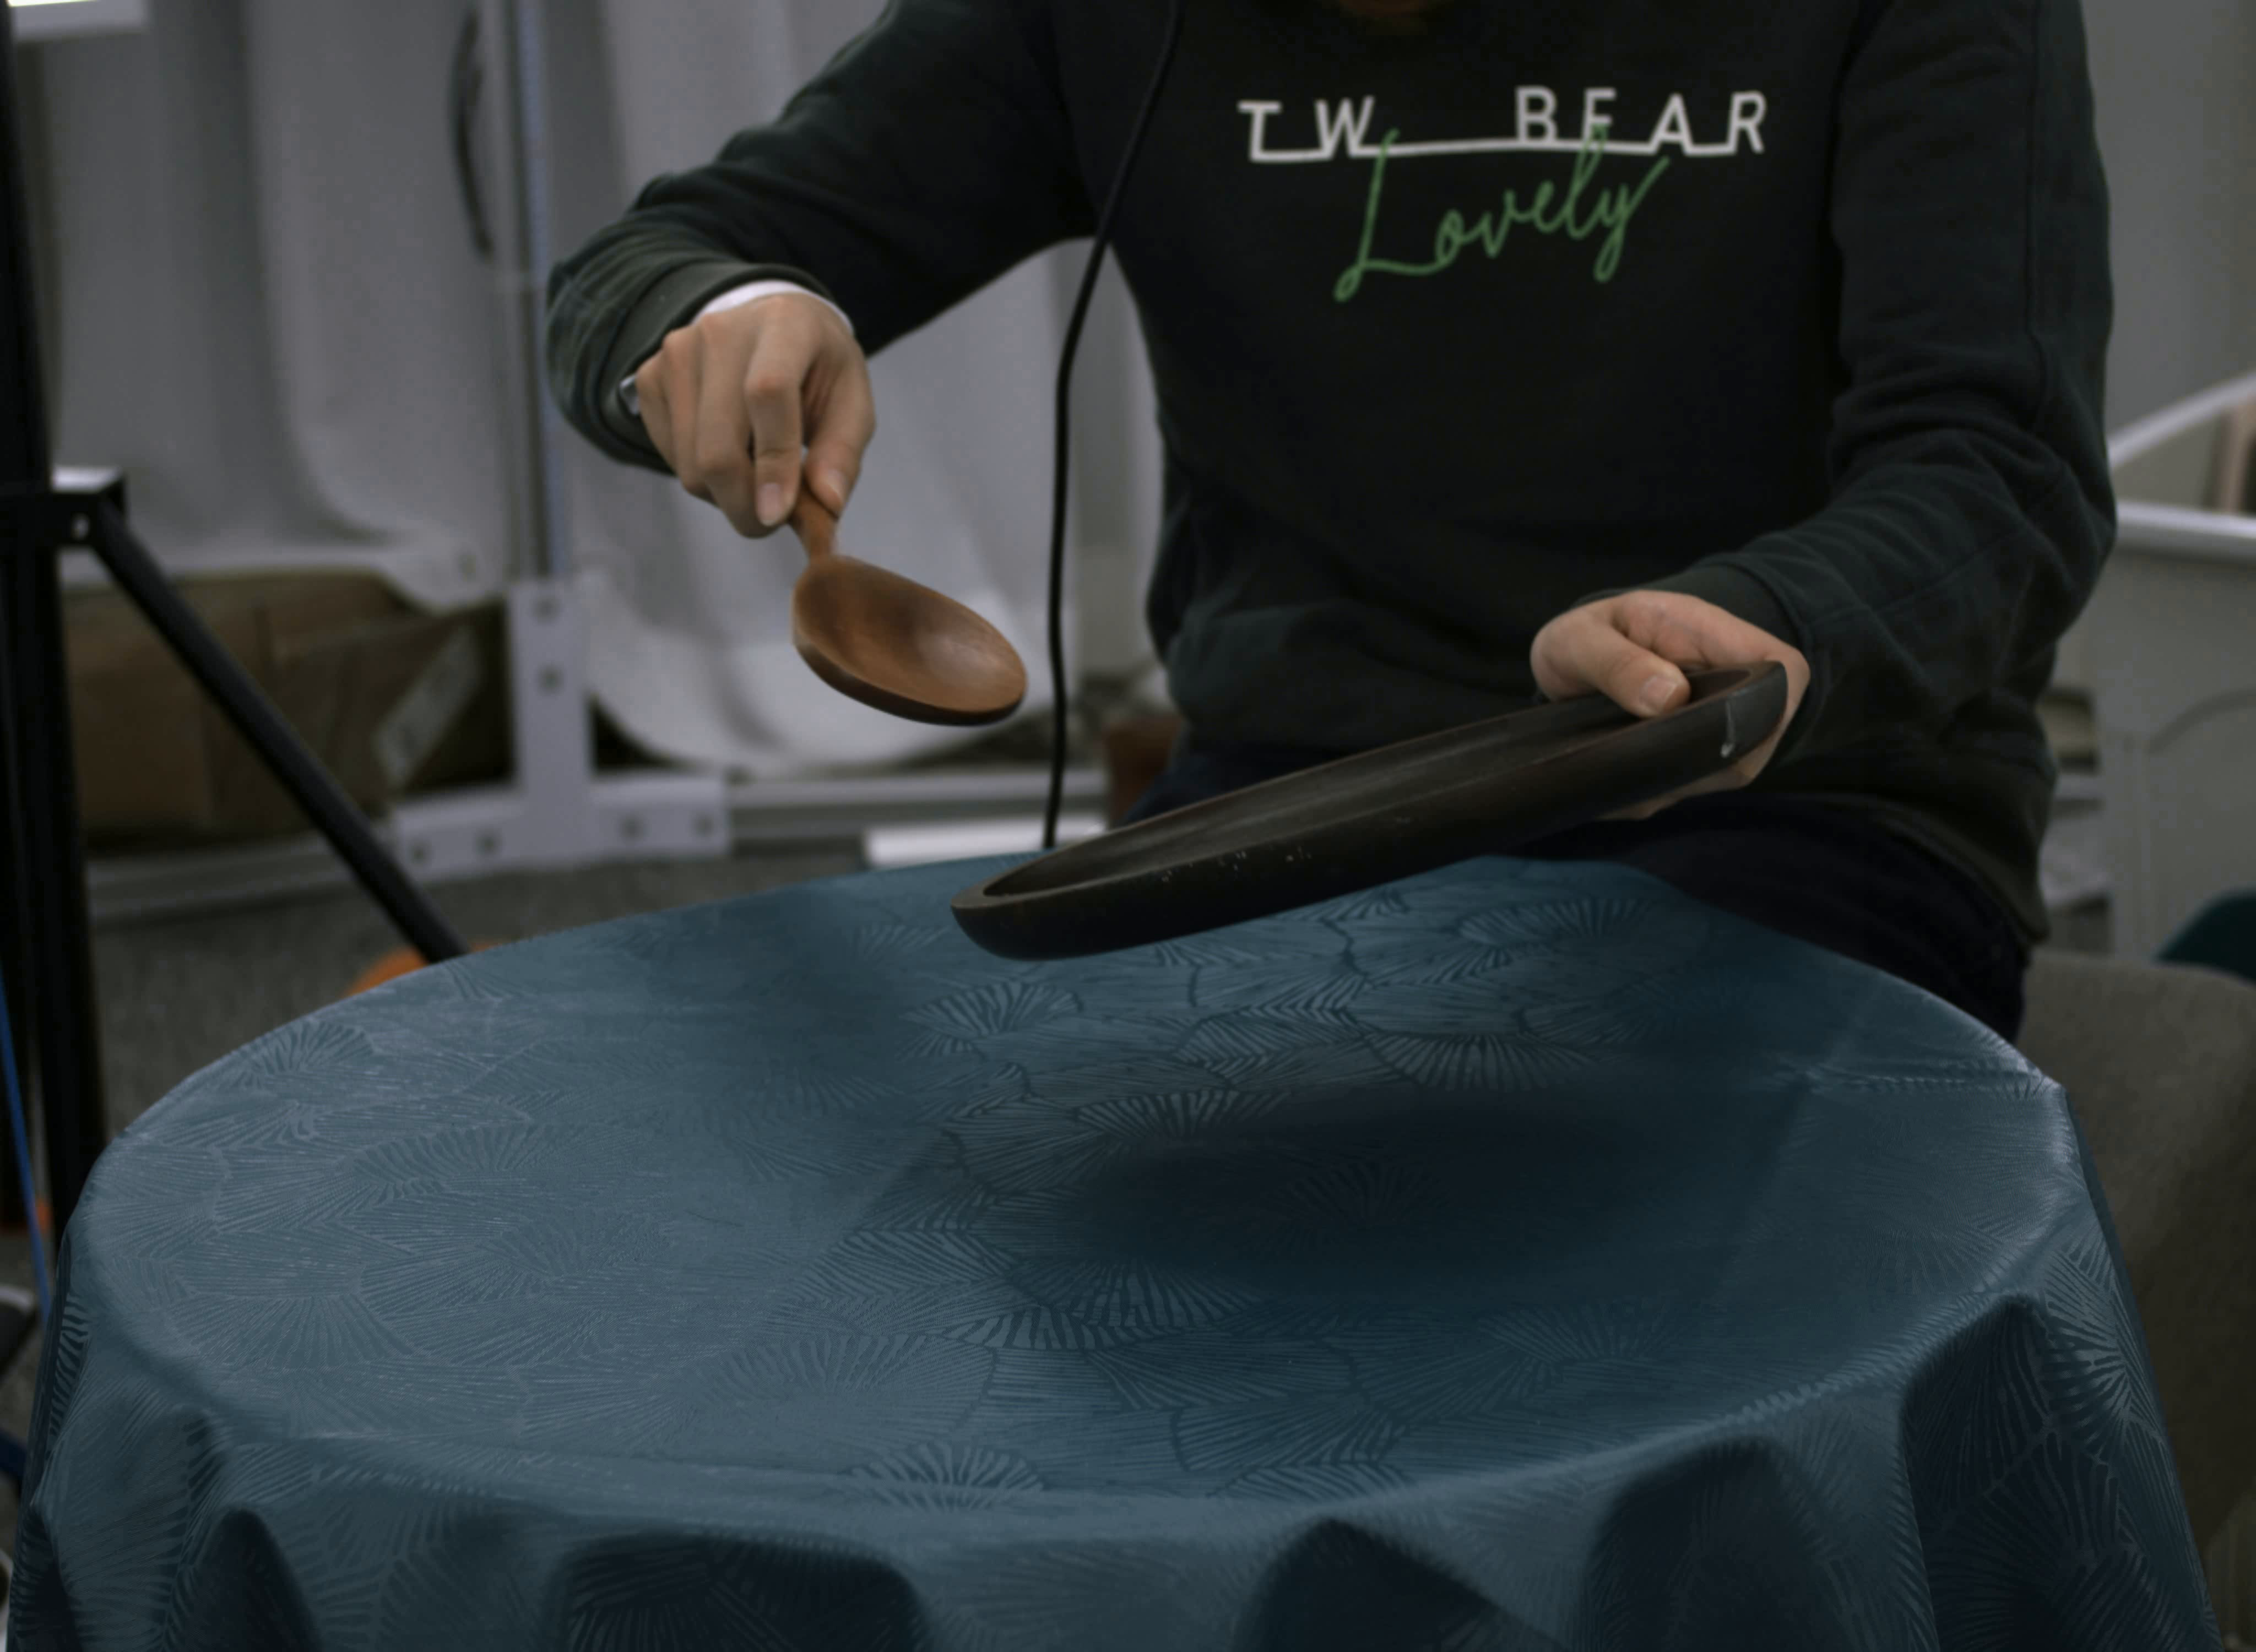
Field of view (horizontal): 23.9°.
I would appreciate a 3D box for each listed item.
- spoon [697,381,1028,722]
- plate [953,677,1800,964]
[{"bbox_3d":[-0.093,-0.085,1.681,0.074,0.017,0.220,2,30,-26],"label":"spoon"},{"bbox_3d":[0.073,-0.002,1.541,0.254,0.029,0.255,-16,5,0],"label":"plate"}]
